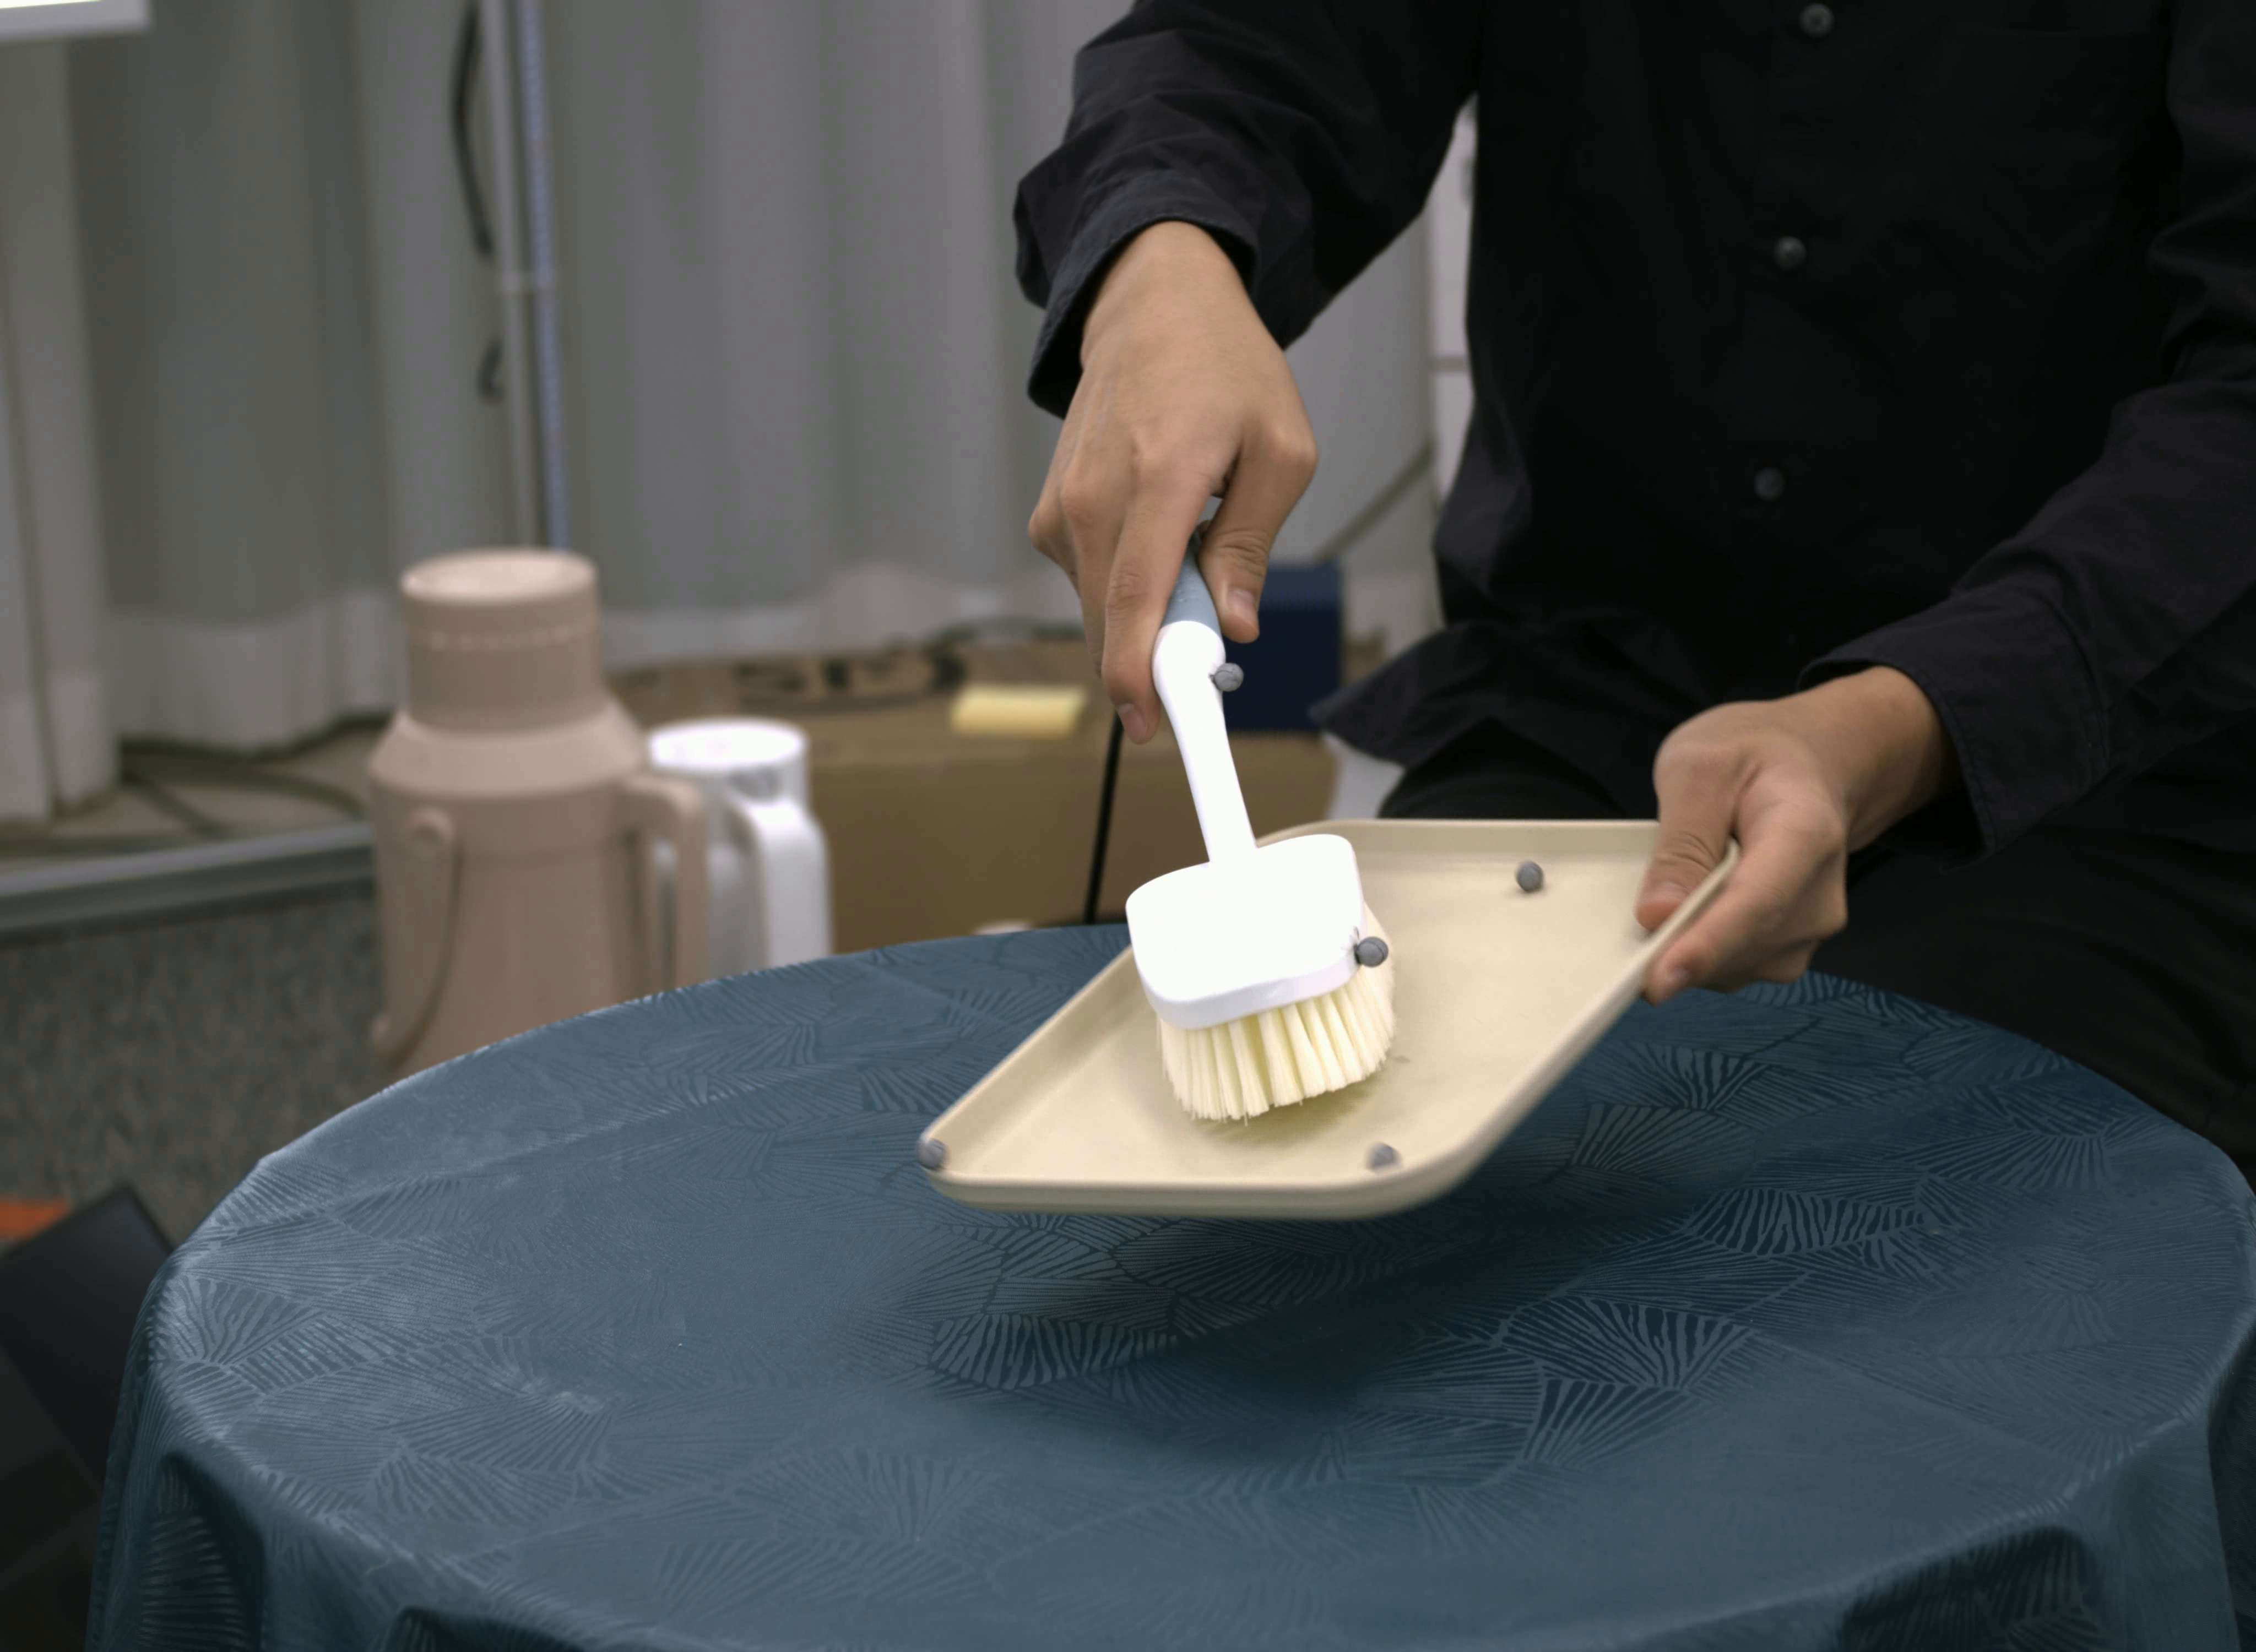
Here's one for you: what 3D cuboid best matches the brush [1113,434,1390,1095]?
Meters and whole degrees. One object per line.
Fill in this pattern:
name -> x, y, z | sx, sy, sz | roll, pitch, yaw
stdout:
brush -> 0.033, -0.010, 1.576 | 0.082, 0.085, 0.329 | 18, 26, -15

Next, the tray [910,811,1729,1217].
tray -> 0.058, 0.052, 1.498 | 0.174, 0.017, 0.236 | -1, 24, 33
